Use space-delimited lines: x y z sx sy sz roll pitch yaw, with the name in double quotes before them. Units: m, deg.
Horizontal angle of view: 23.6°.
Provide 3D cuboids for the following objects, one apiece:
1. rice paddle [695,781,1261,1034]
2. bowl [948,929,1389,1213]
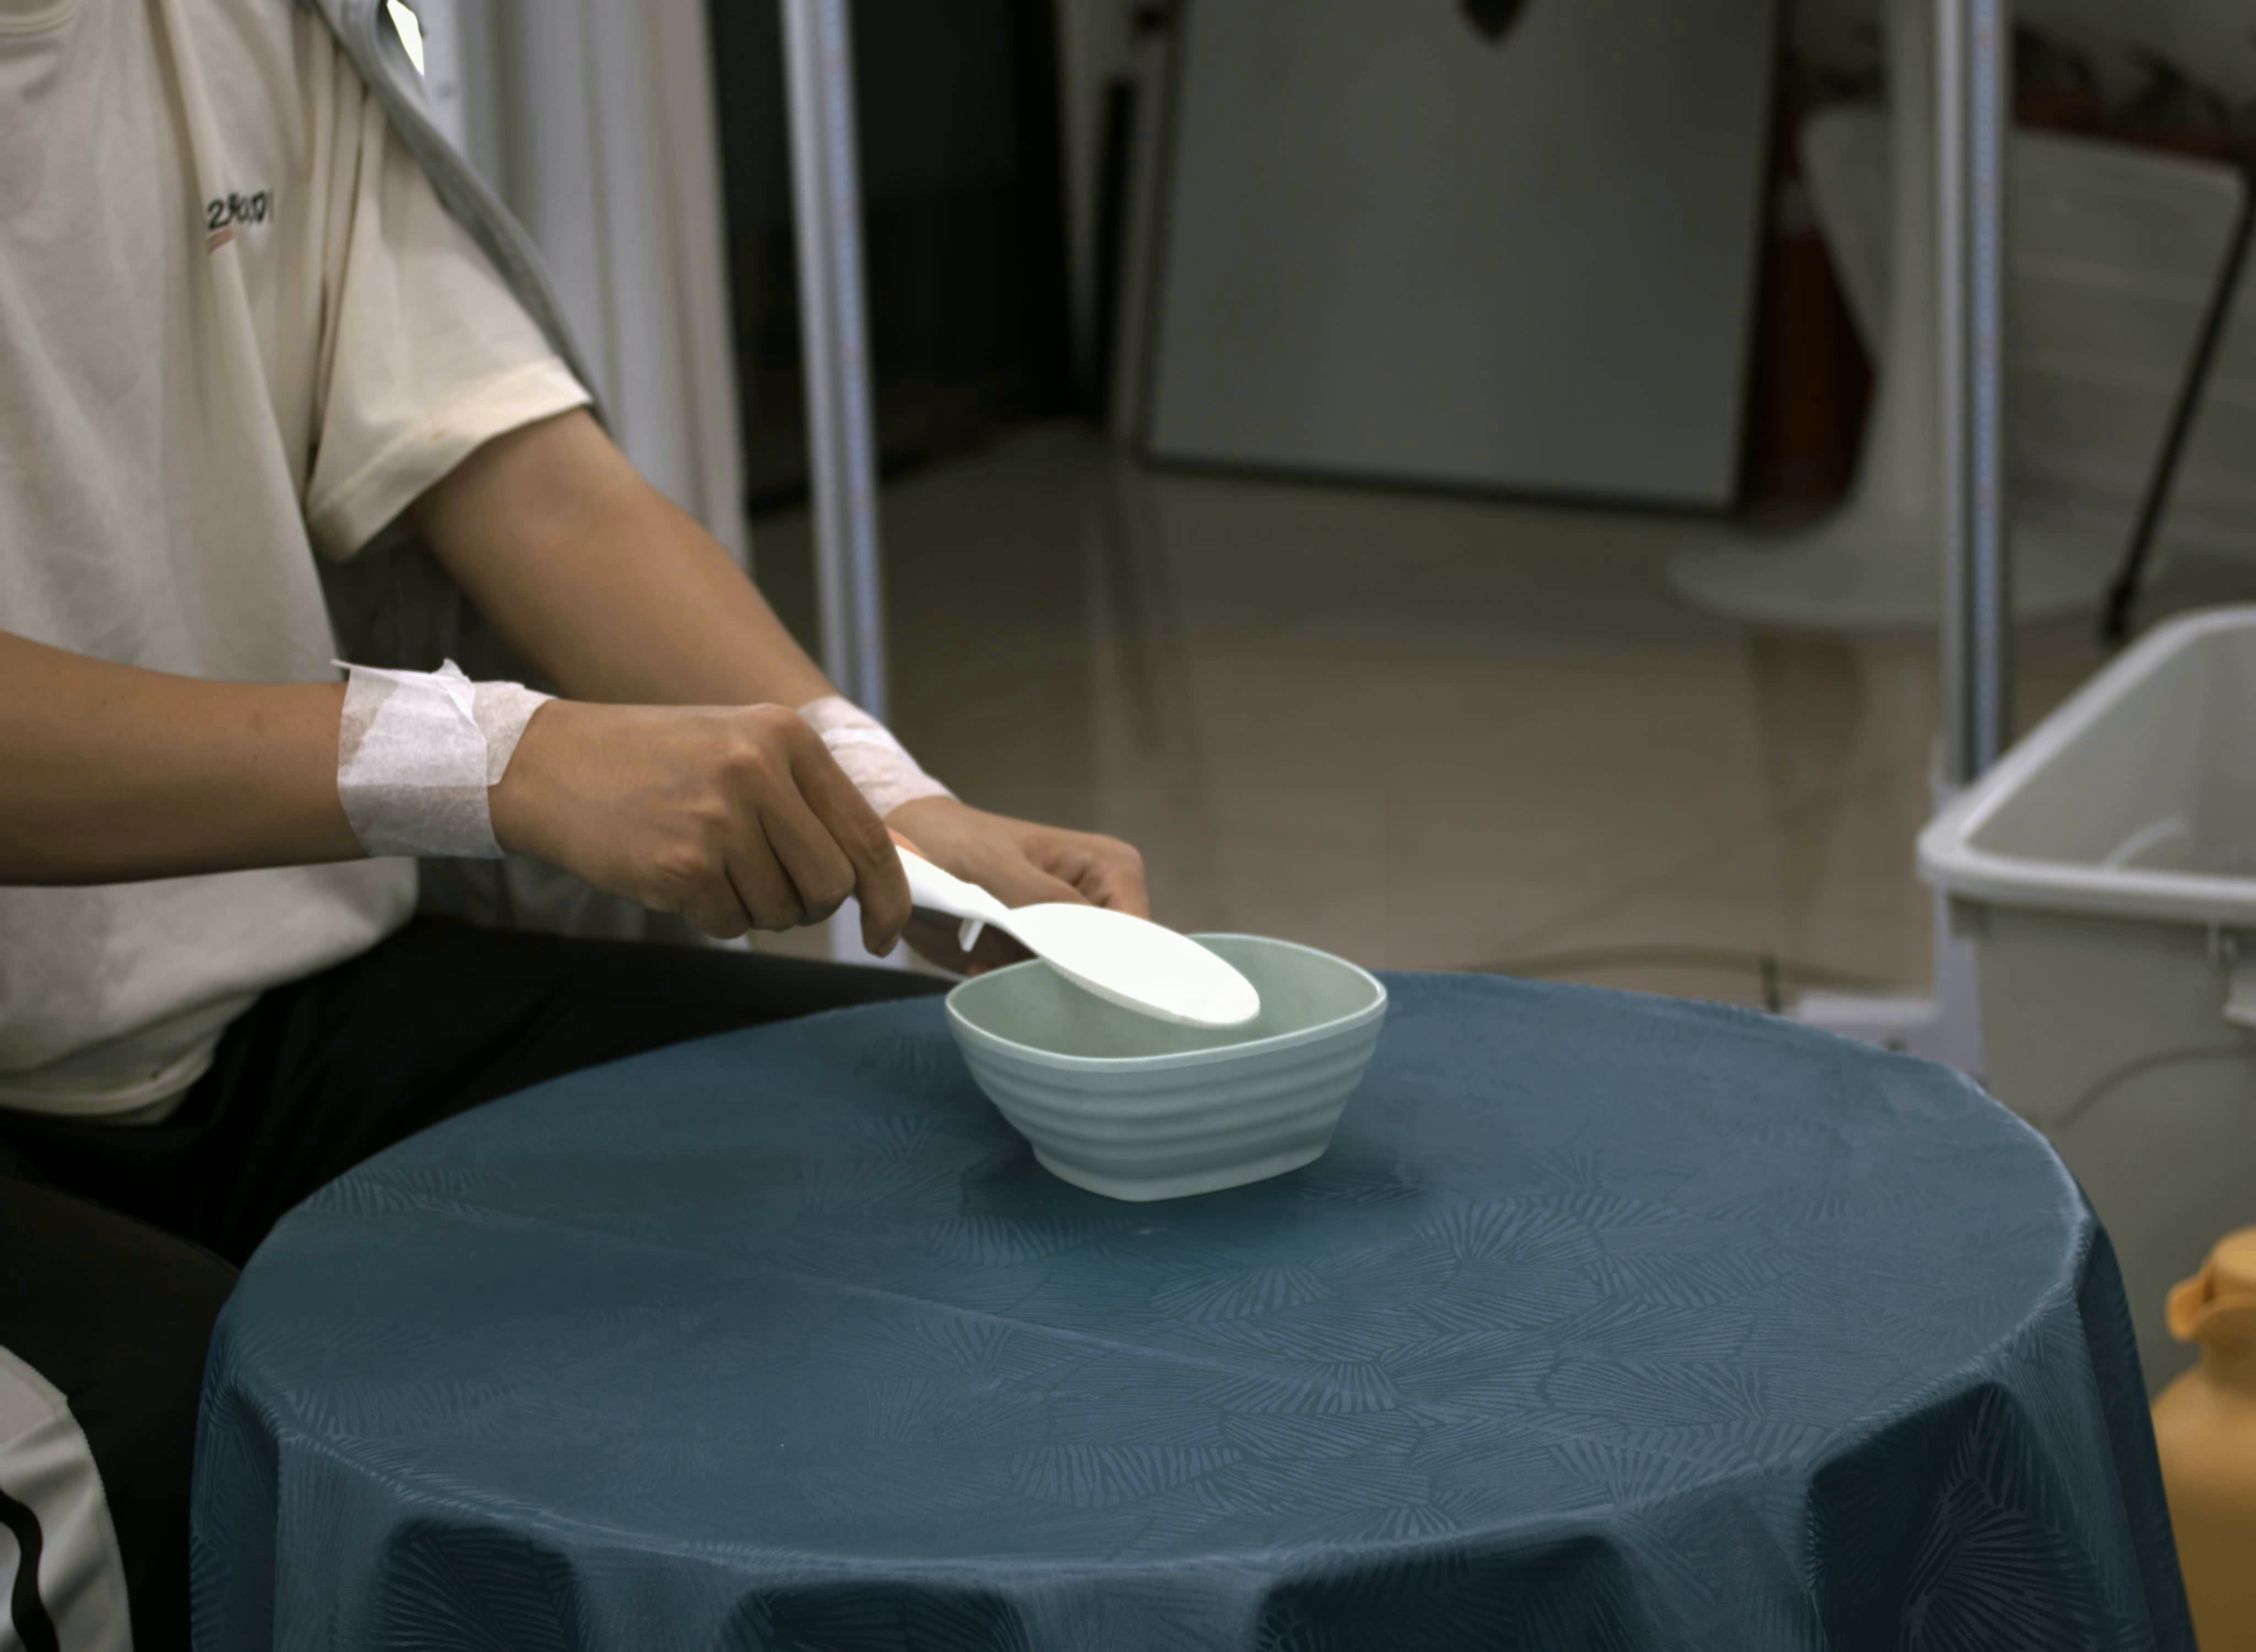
"rice paddle" -0.045 0.029 1.795 0.201 0.030 0.069 19 22 -17
"bowl" 0.014 0.085 1.800 0.149 0.059 0.152 -3 16 0
